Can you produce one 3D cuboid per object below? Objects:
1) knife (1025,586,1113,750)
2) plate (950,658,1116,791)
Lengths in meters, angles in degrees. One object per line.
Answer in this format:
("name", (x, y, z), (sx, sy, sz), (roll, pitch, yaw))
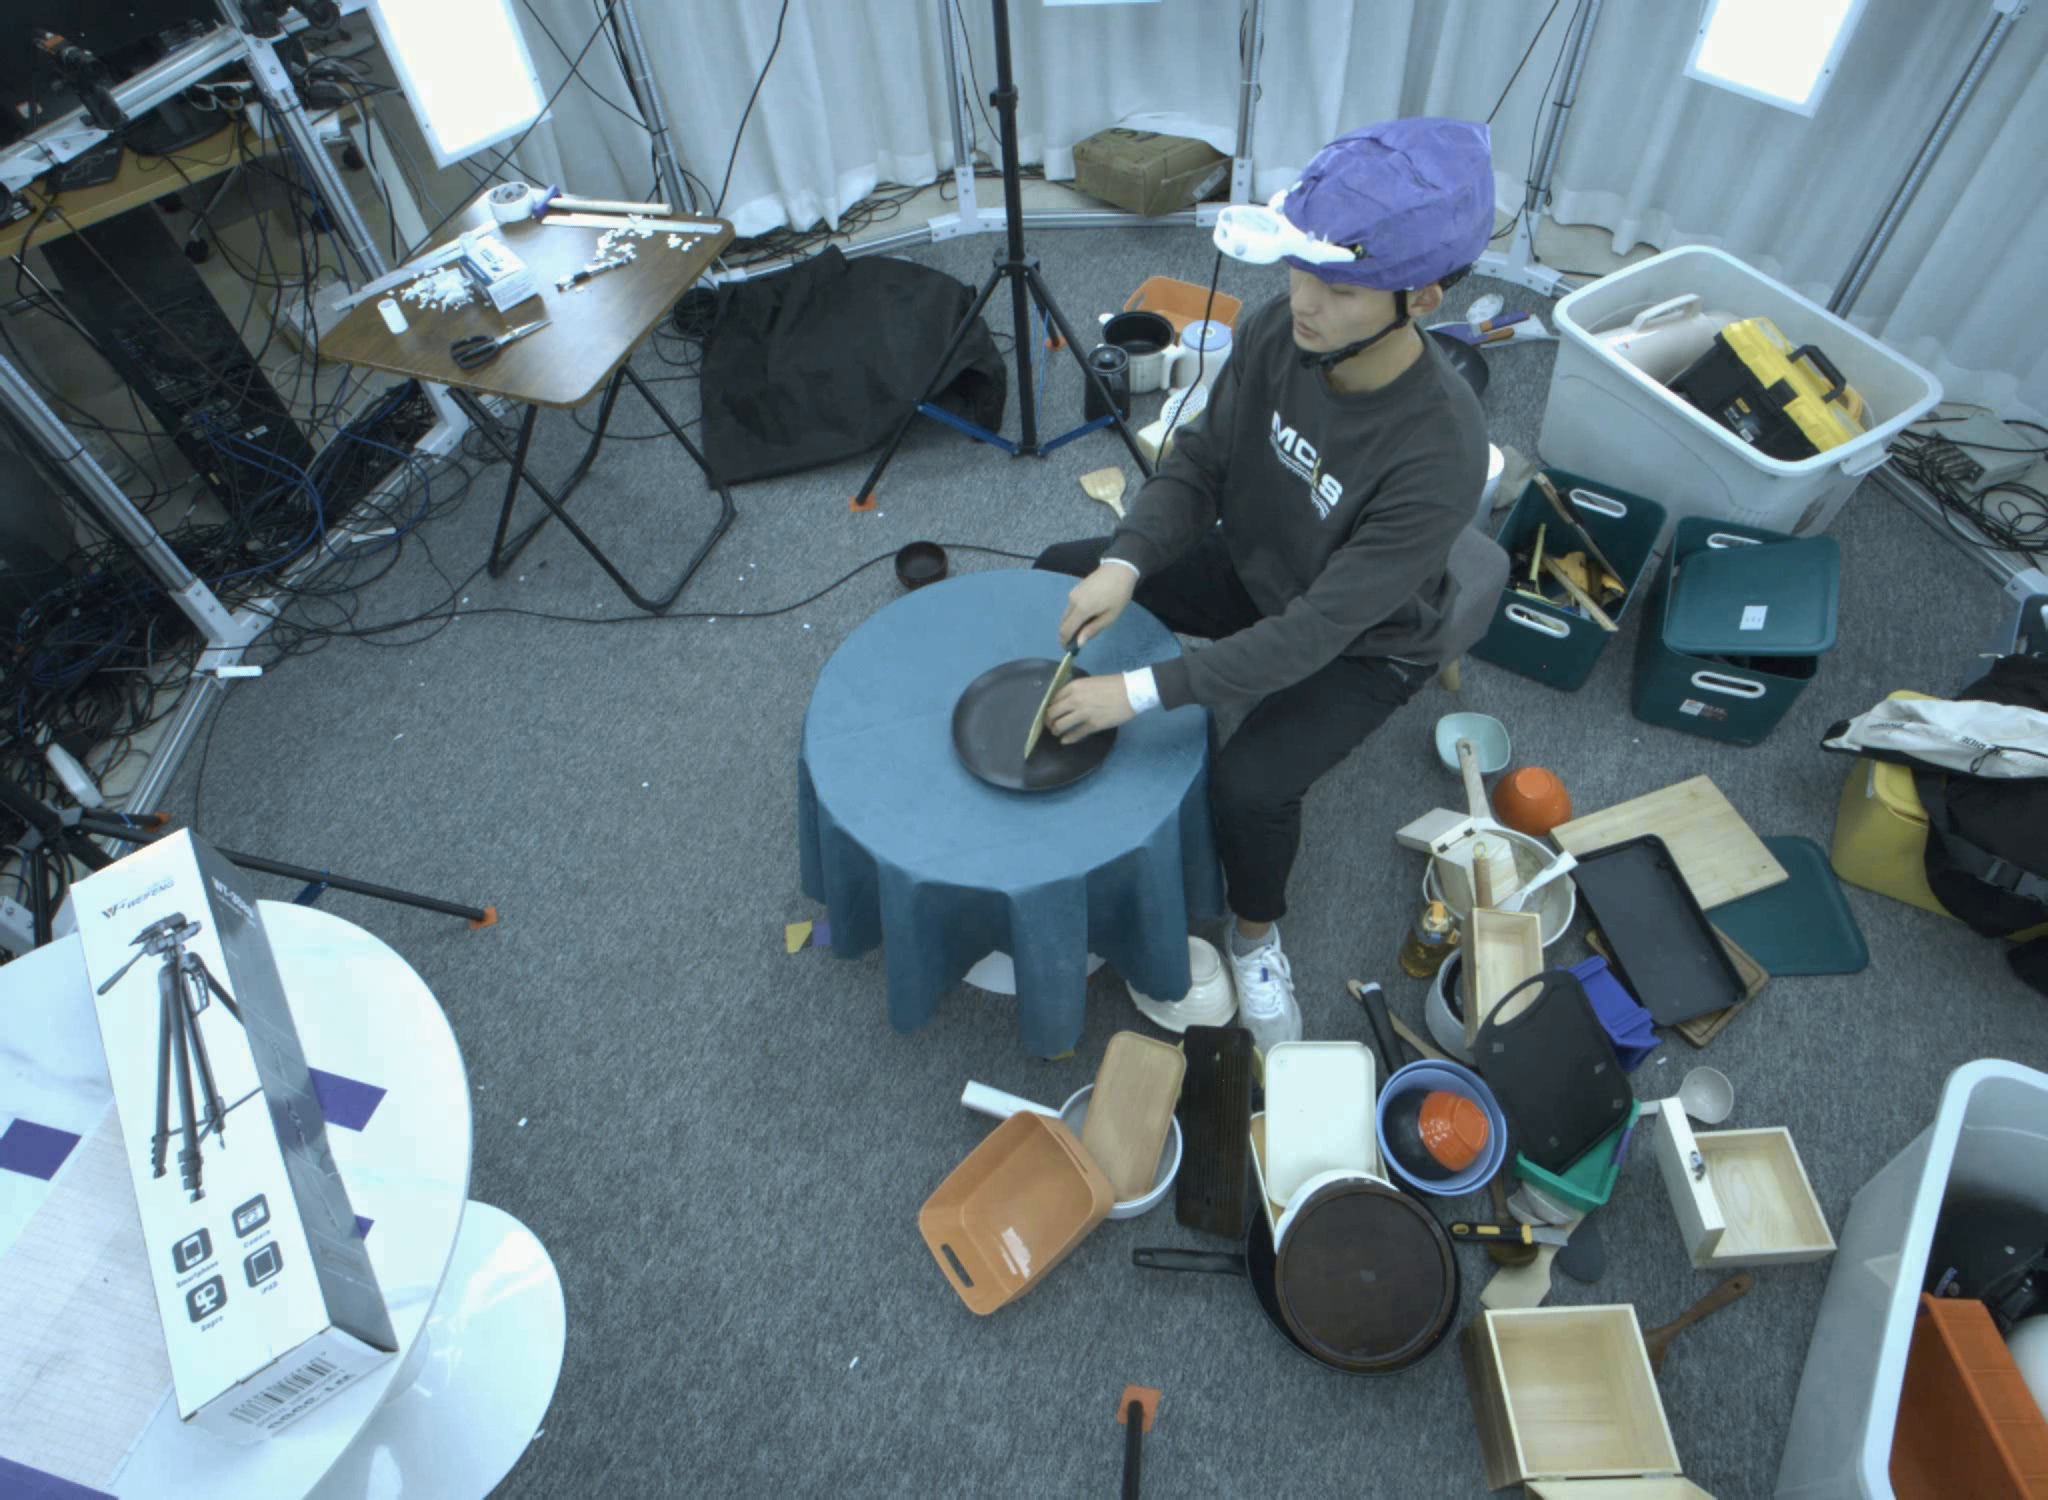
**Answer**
("knife", (0.064, -0.120, 1.807), (0.027, 0.081, 0.289), (24, 69, 9))
("plate", (0.014, -0.036, 1.806), (0.244, 0.023, 0.242), (0, 55, 1))
